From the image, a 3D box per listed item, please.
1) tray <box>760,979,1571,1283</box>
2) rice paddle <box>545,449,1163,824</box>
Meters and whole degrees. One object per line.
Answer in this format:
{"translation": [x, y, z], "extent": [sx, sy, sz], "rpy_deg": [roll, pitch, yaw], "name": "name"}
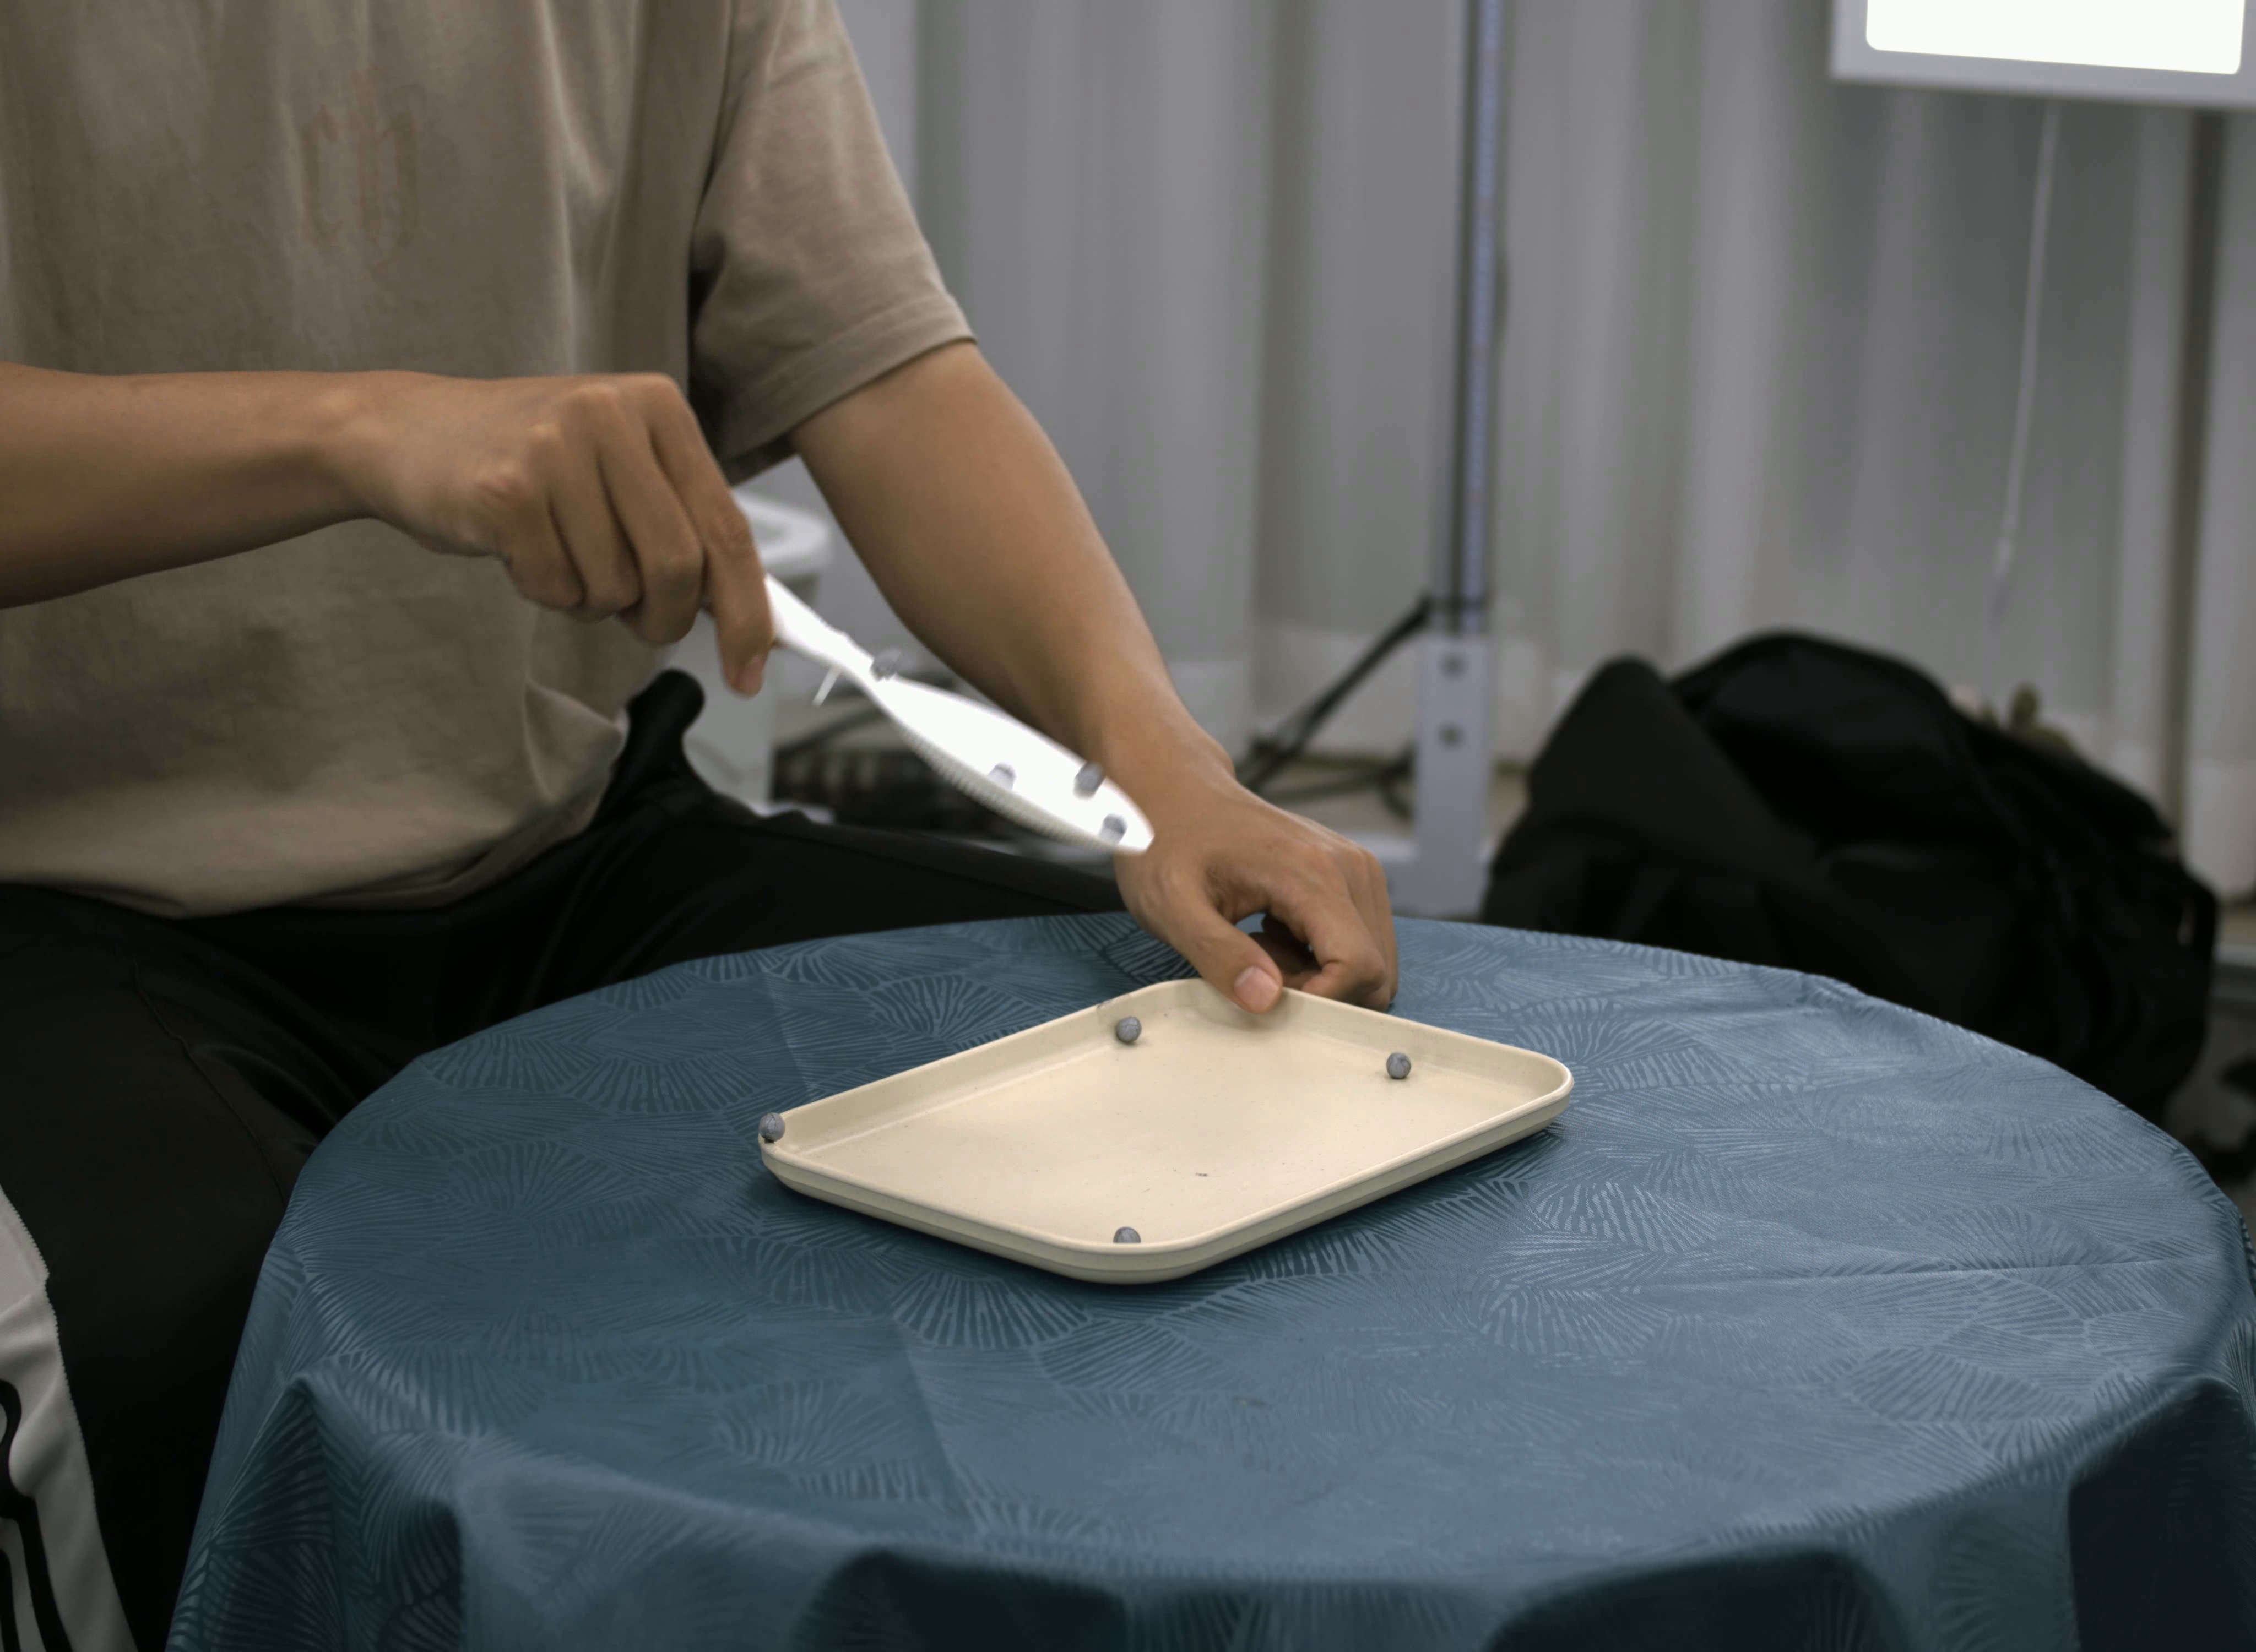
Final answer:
{"translation": [0.014, 0.095, 1.657], "extent": [0.169, 0.017, 0.241], "rpy_deg": [14, 20, 38], "name": "tray"}
{"translation": [-0.078, -0.053, 1.586], "extent": [0.205, 0.029, 0.068], "rpy_deg": [28, 16, -5], "name": "rice paddle"}
